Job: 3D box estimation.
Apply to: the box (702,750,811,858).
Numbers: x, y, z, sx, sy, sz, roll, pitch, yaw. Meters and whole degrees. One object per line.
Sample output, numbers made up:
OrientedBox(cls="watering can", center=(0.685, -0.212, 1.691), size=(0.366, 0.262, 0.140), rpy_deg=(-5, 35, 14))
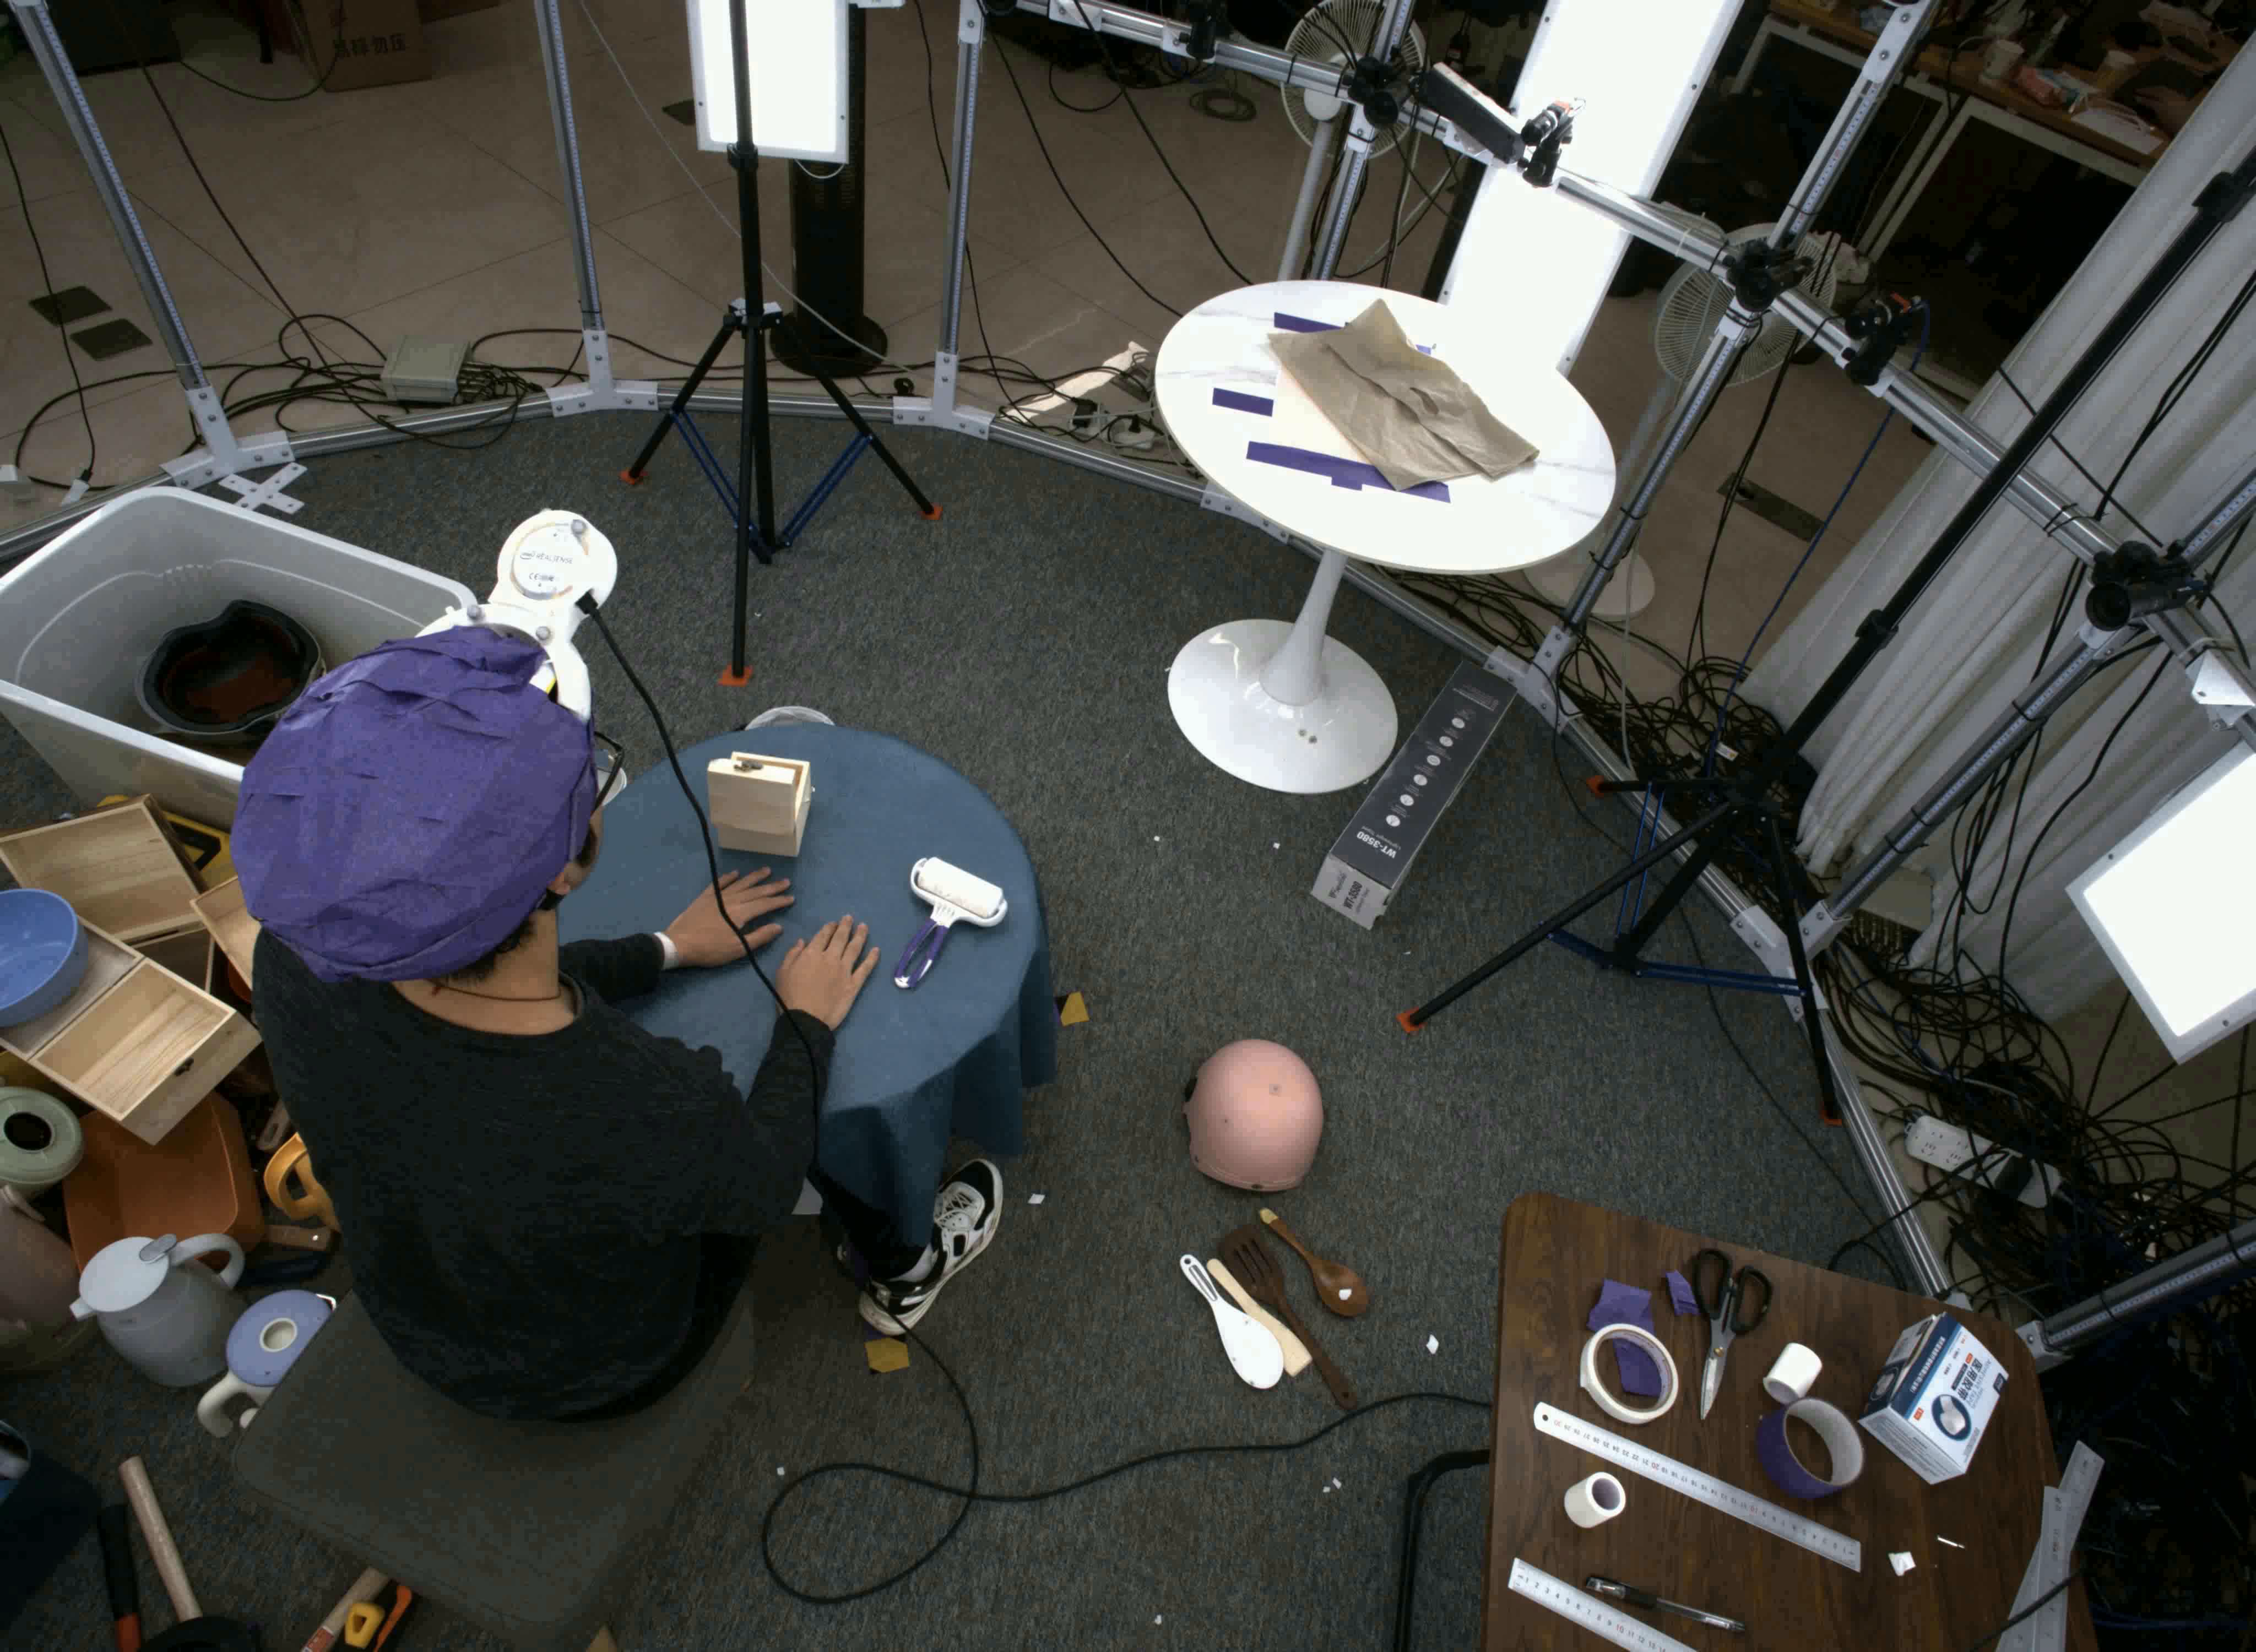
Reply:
OrientedBox(cls="box", center=(-0.464, -0.055, 1.631), size=(0.102, 0.188, 0.131), rpy_deg=(7, 52, -7))

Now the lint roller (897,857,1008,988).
OrientedBox(cls="lint roller", center=(-0.243, 0.122, 1.645), size=(0.131, 0.051, 0.180), rpy_deg=(27, 50, 5))
